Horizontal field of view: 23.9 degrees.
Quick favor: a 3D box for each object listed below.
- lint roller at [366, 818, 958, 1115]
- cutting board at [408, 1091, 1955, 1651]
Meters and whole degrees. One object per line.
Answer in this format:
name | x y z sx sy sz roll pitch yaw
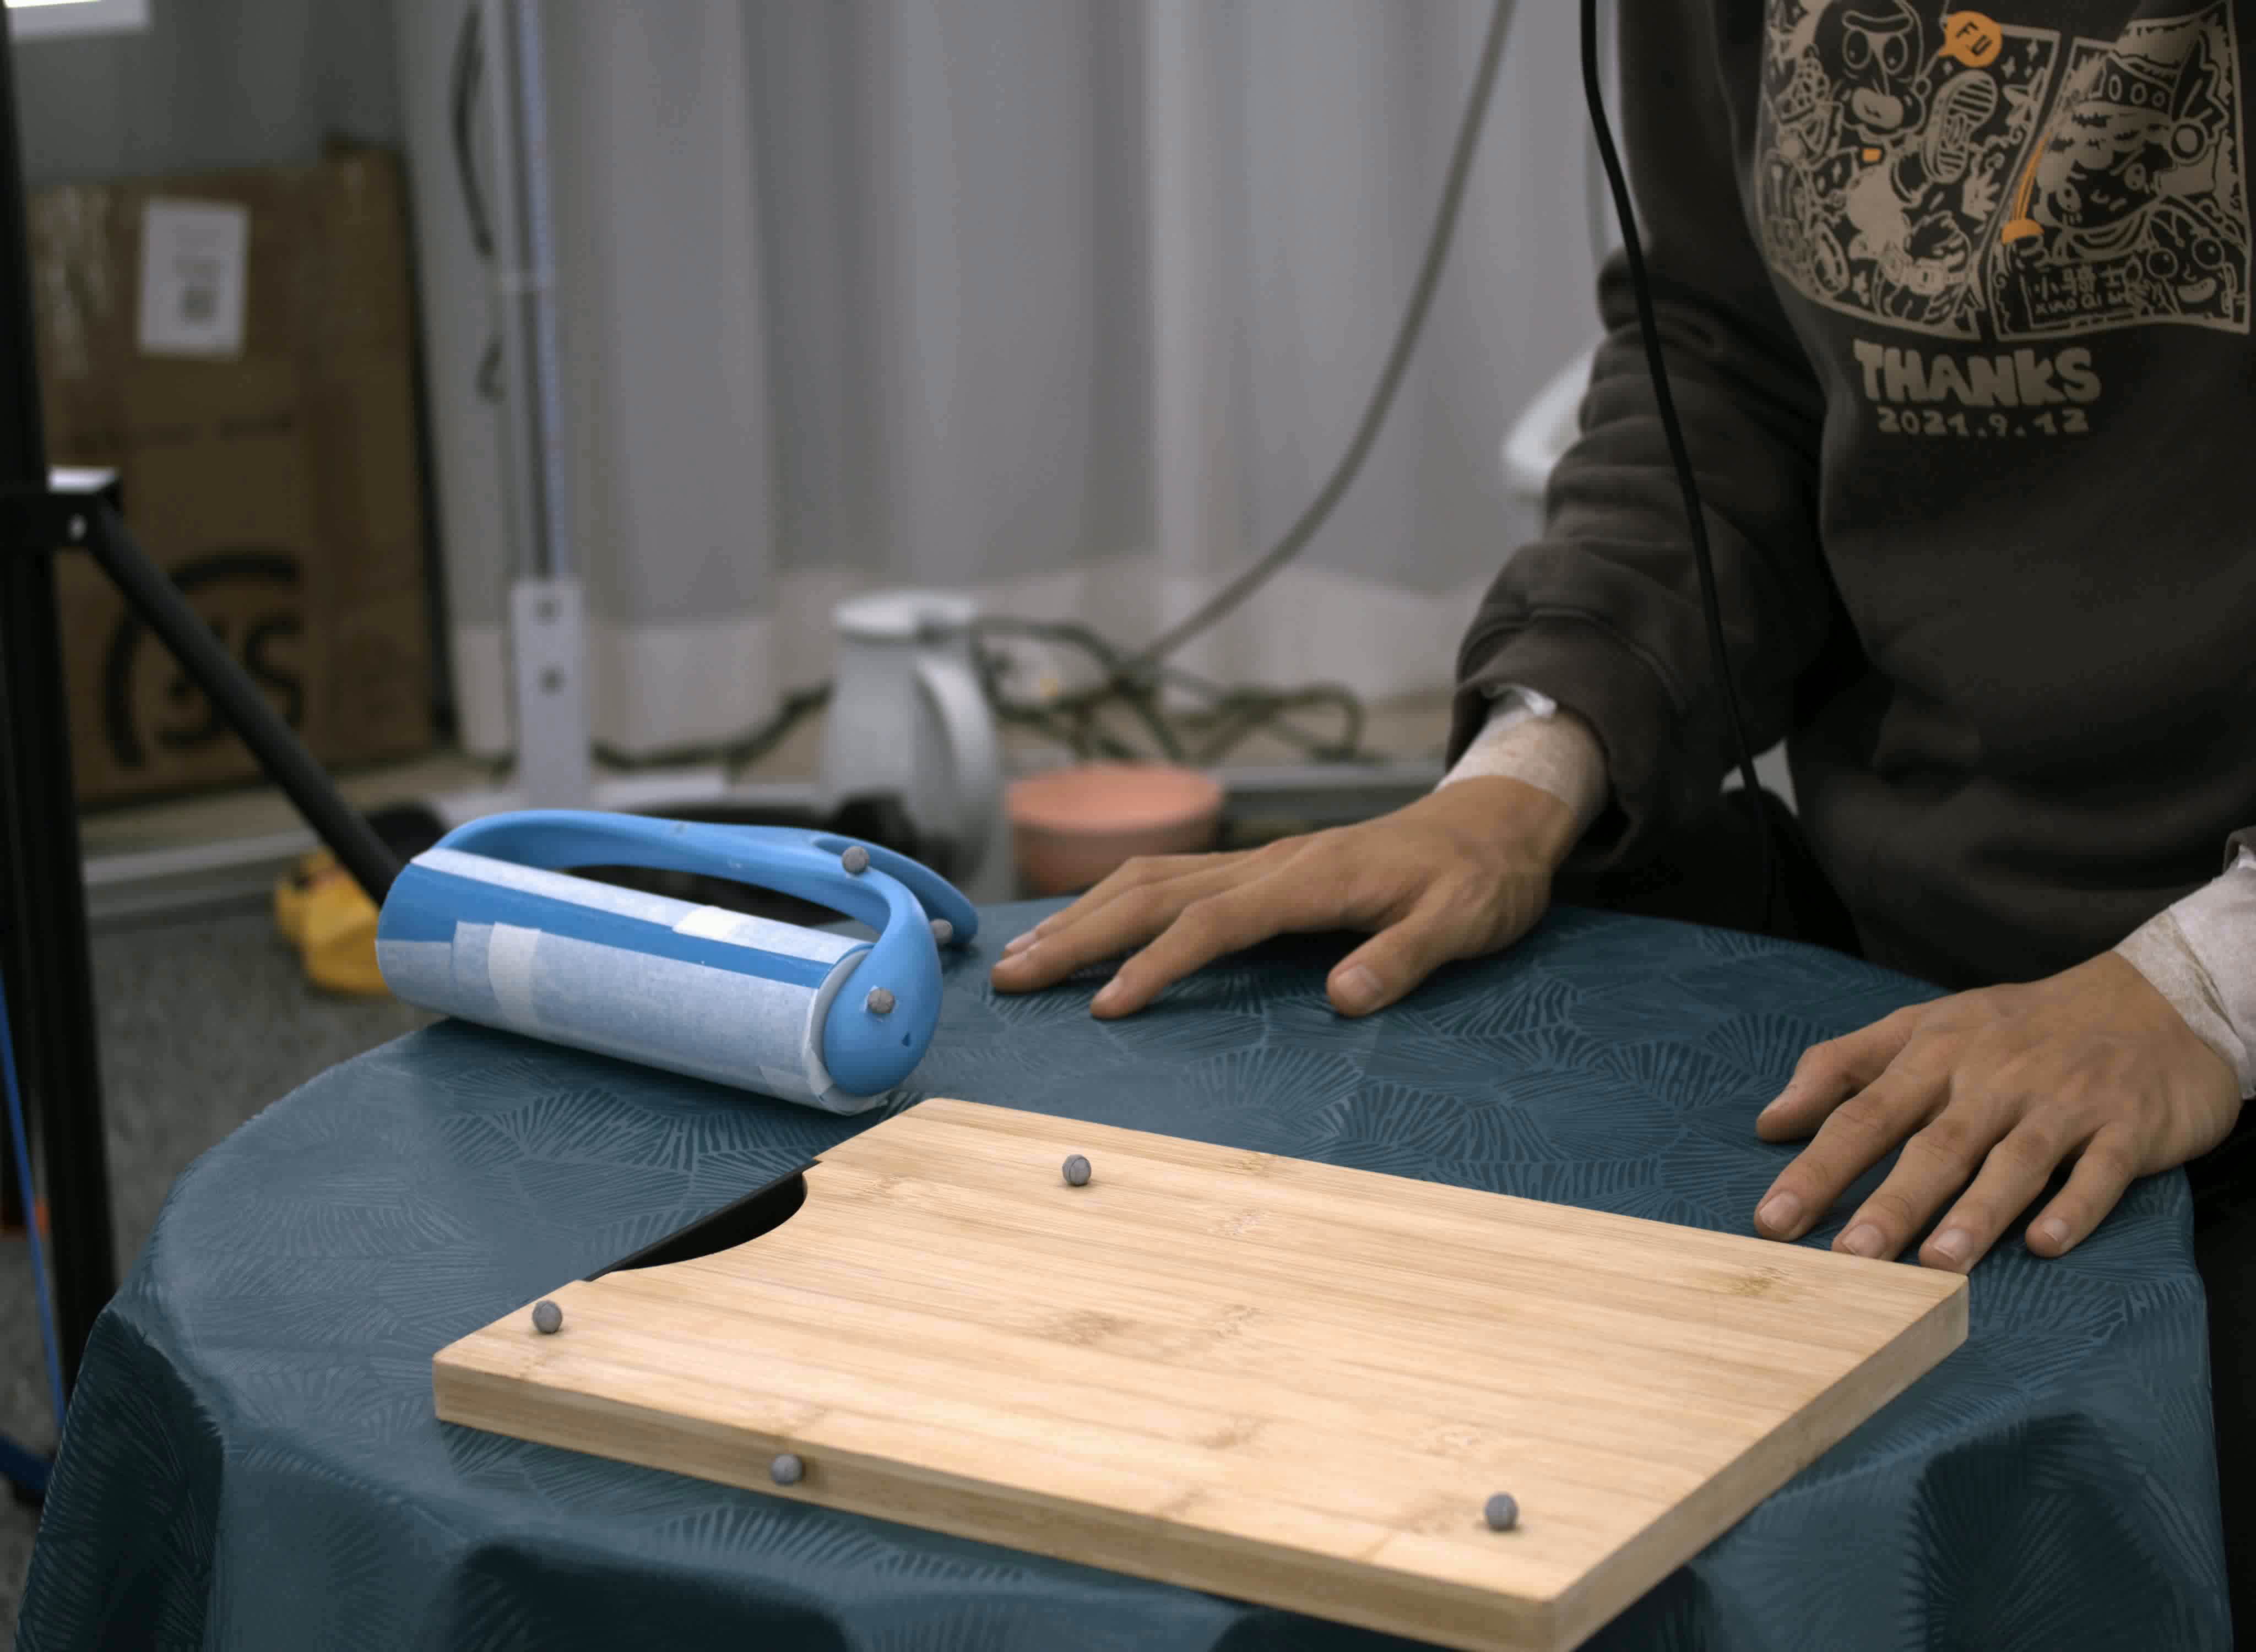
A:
lint roller | -0.122 0.034 1.744 0.234 0.068 0.176 8 20 37
cutting board | 0.015 0.139 1.420 0.355 0.023 0.246 8 18 32
